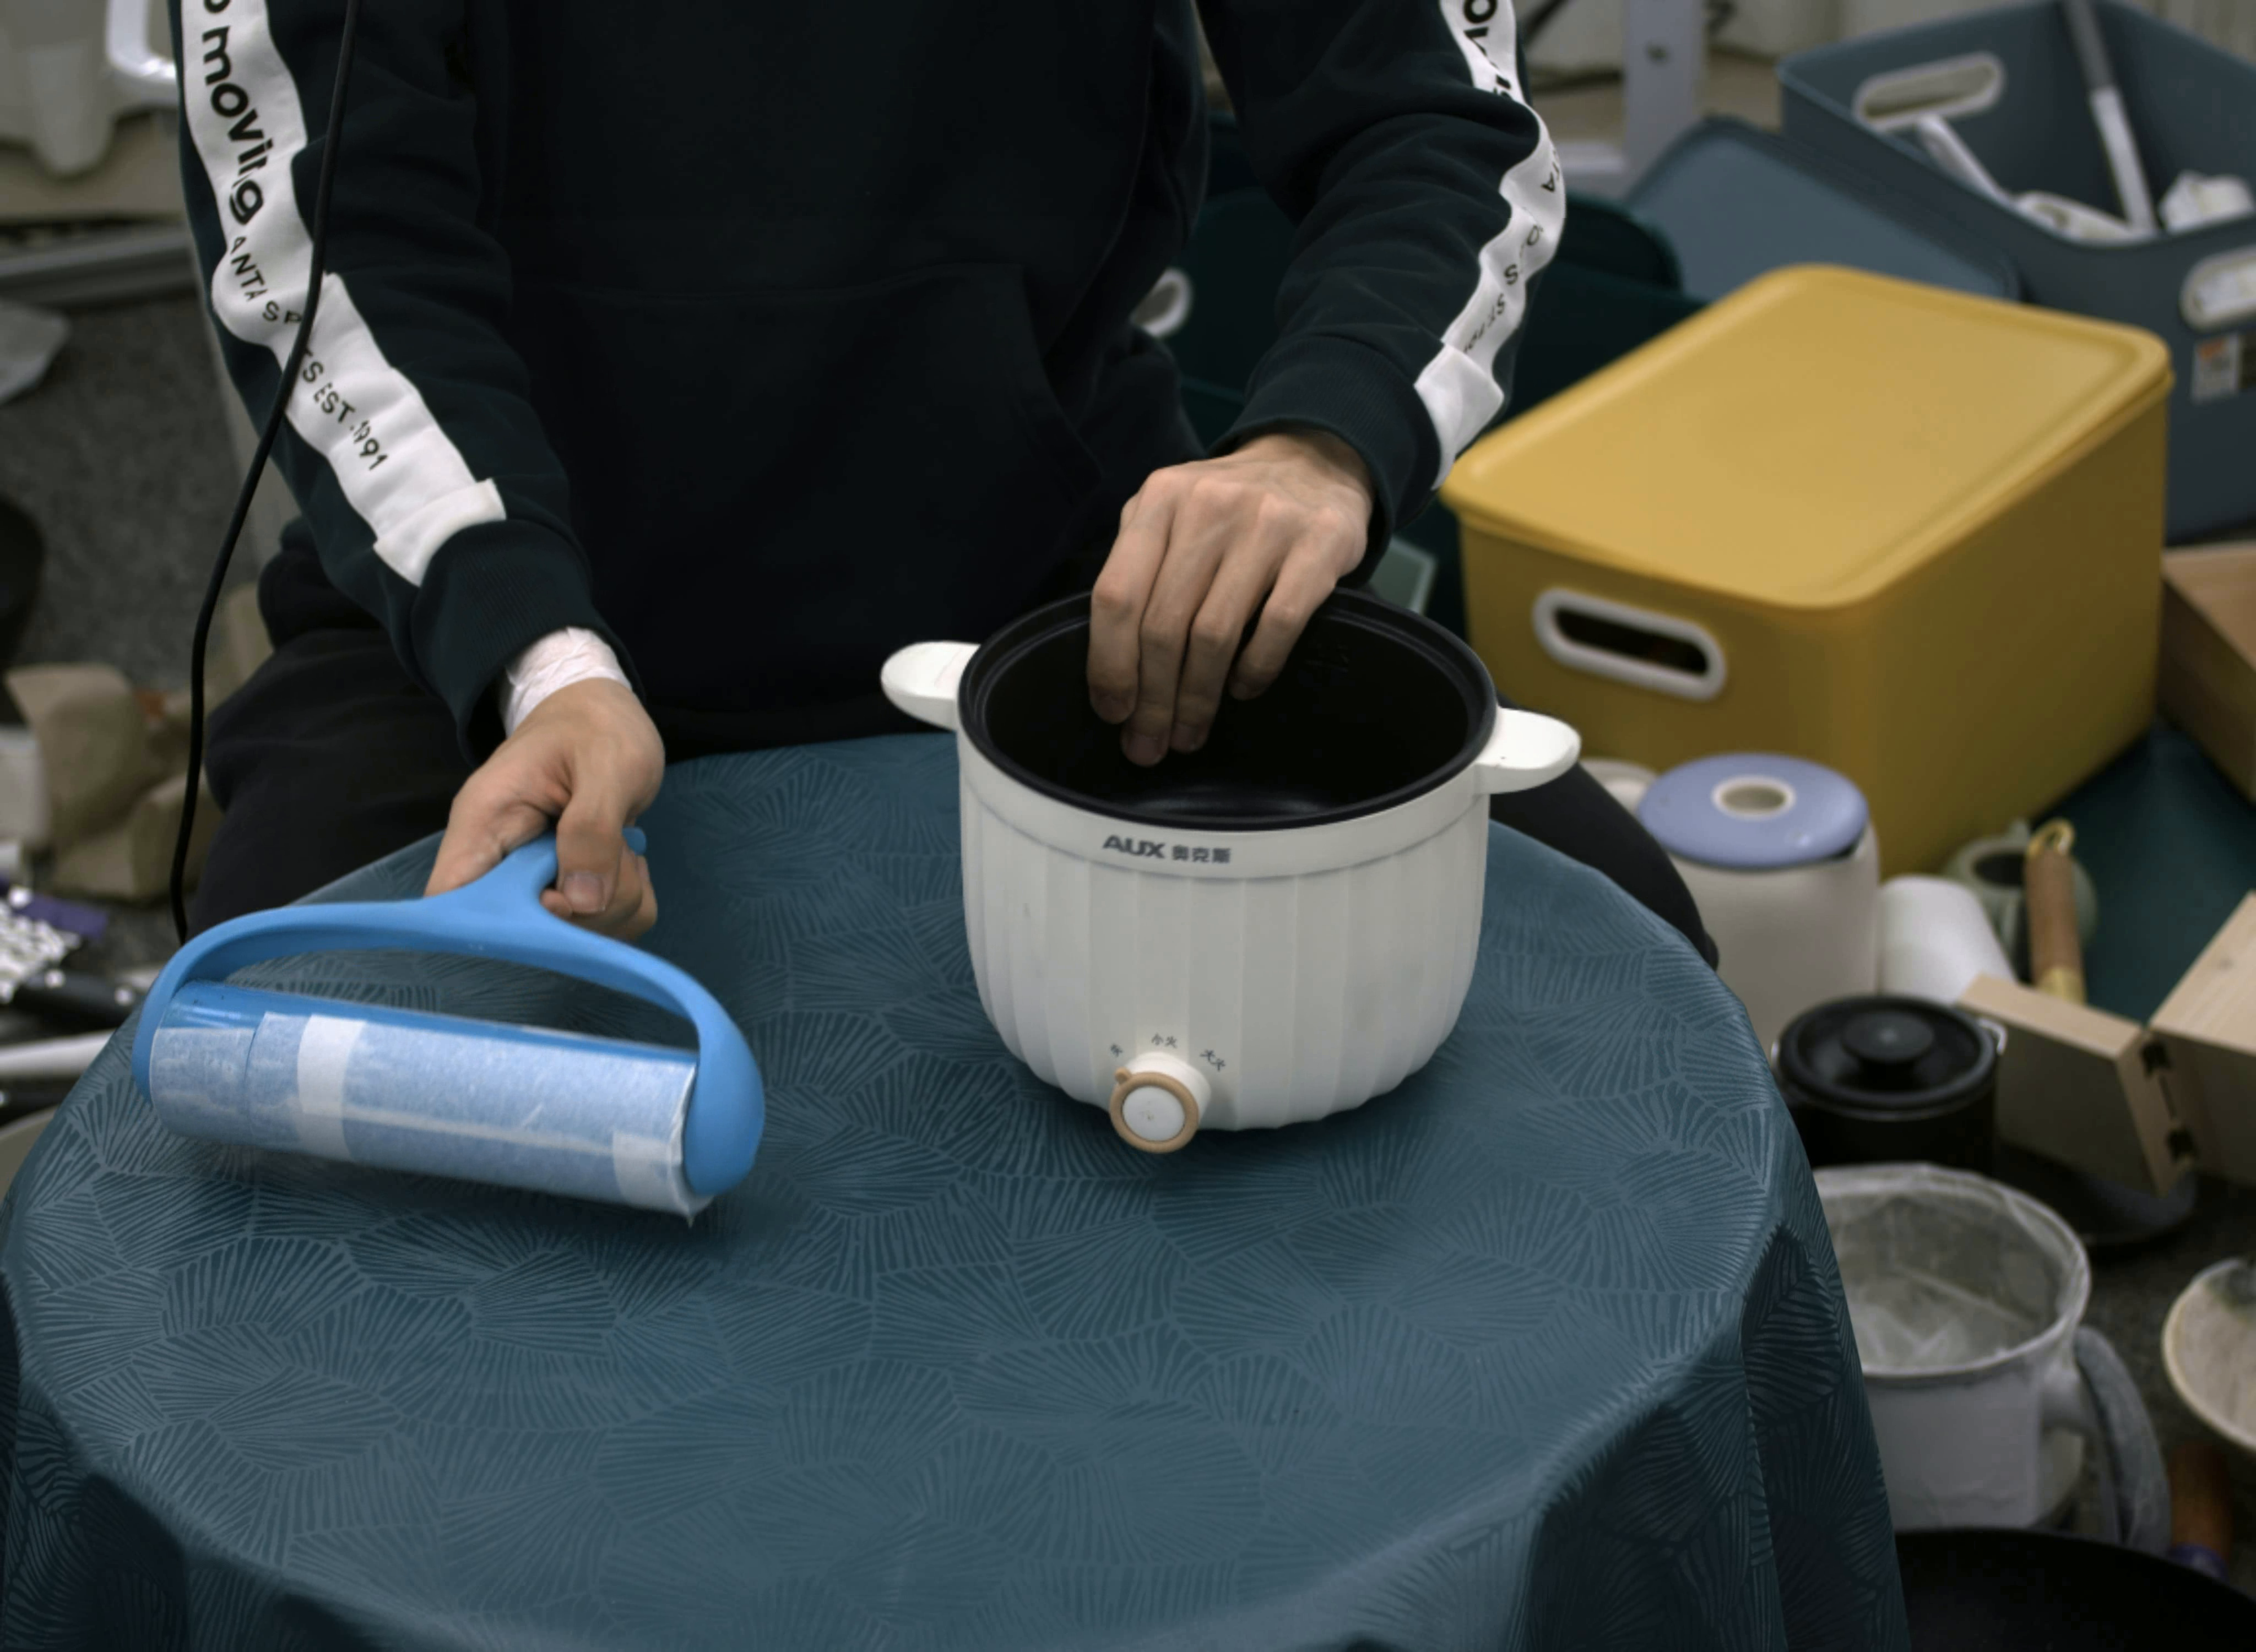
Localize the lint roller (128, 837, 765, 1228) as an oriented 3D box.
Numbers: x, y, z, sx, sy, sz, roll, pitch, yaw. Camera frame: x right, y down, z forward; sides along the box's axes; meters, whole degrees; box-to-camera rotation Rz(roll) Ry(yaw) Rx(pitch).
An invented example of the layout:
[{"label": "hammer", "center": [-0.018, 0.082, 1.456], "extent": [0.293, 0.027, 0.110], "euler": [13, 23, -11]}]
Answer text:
[{"label": "lint roller", "center": [-0.212, 0.052, 1.905], "extent": [0.227, 0.067, 0.184], "euler": [4, 45, 18]}]

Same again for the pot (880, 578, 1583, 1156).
[{"label": "pot", "center": [0.033, 0.017, 1.905], "extent": [0.239, 0.141, 0.193], "euler": [5, 25, 12]}]
